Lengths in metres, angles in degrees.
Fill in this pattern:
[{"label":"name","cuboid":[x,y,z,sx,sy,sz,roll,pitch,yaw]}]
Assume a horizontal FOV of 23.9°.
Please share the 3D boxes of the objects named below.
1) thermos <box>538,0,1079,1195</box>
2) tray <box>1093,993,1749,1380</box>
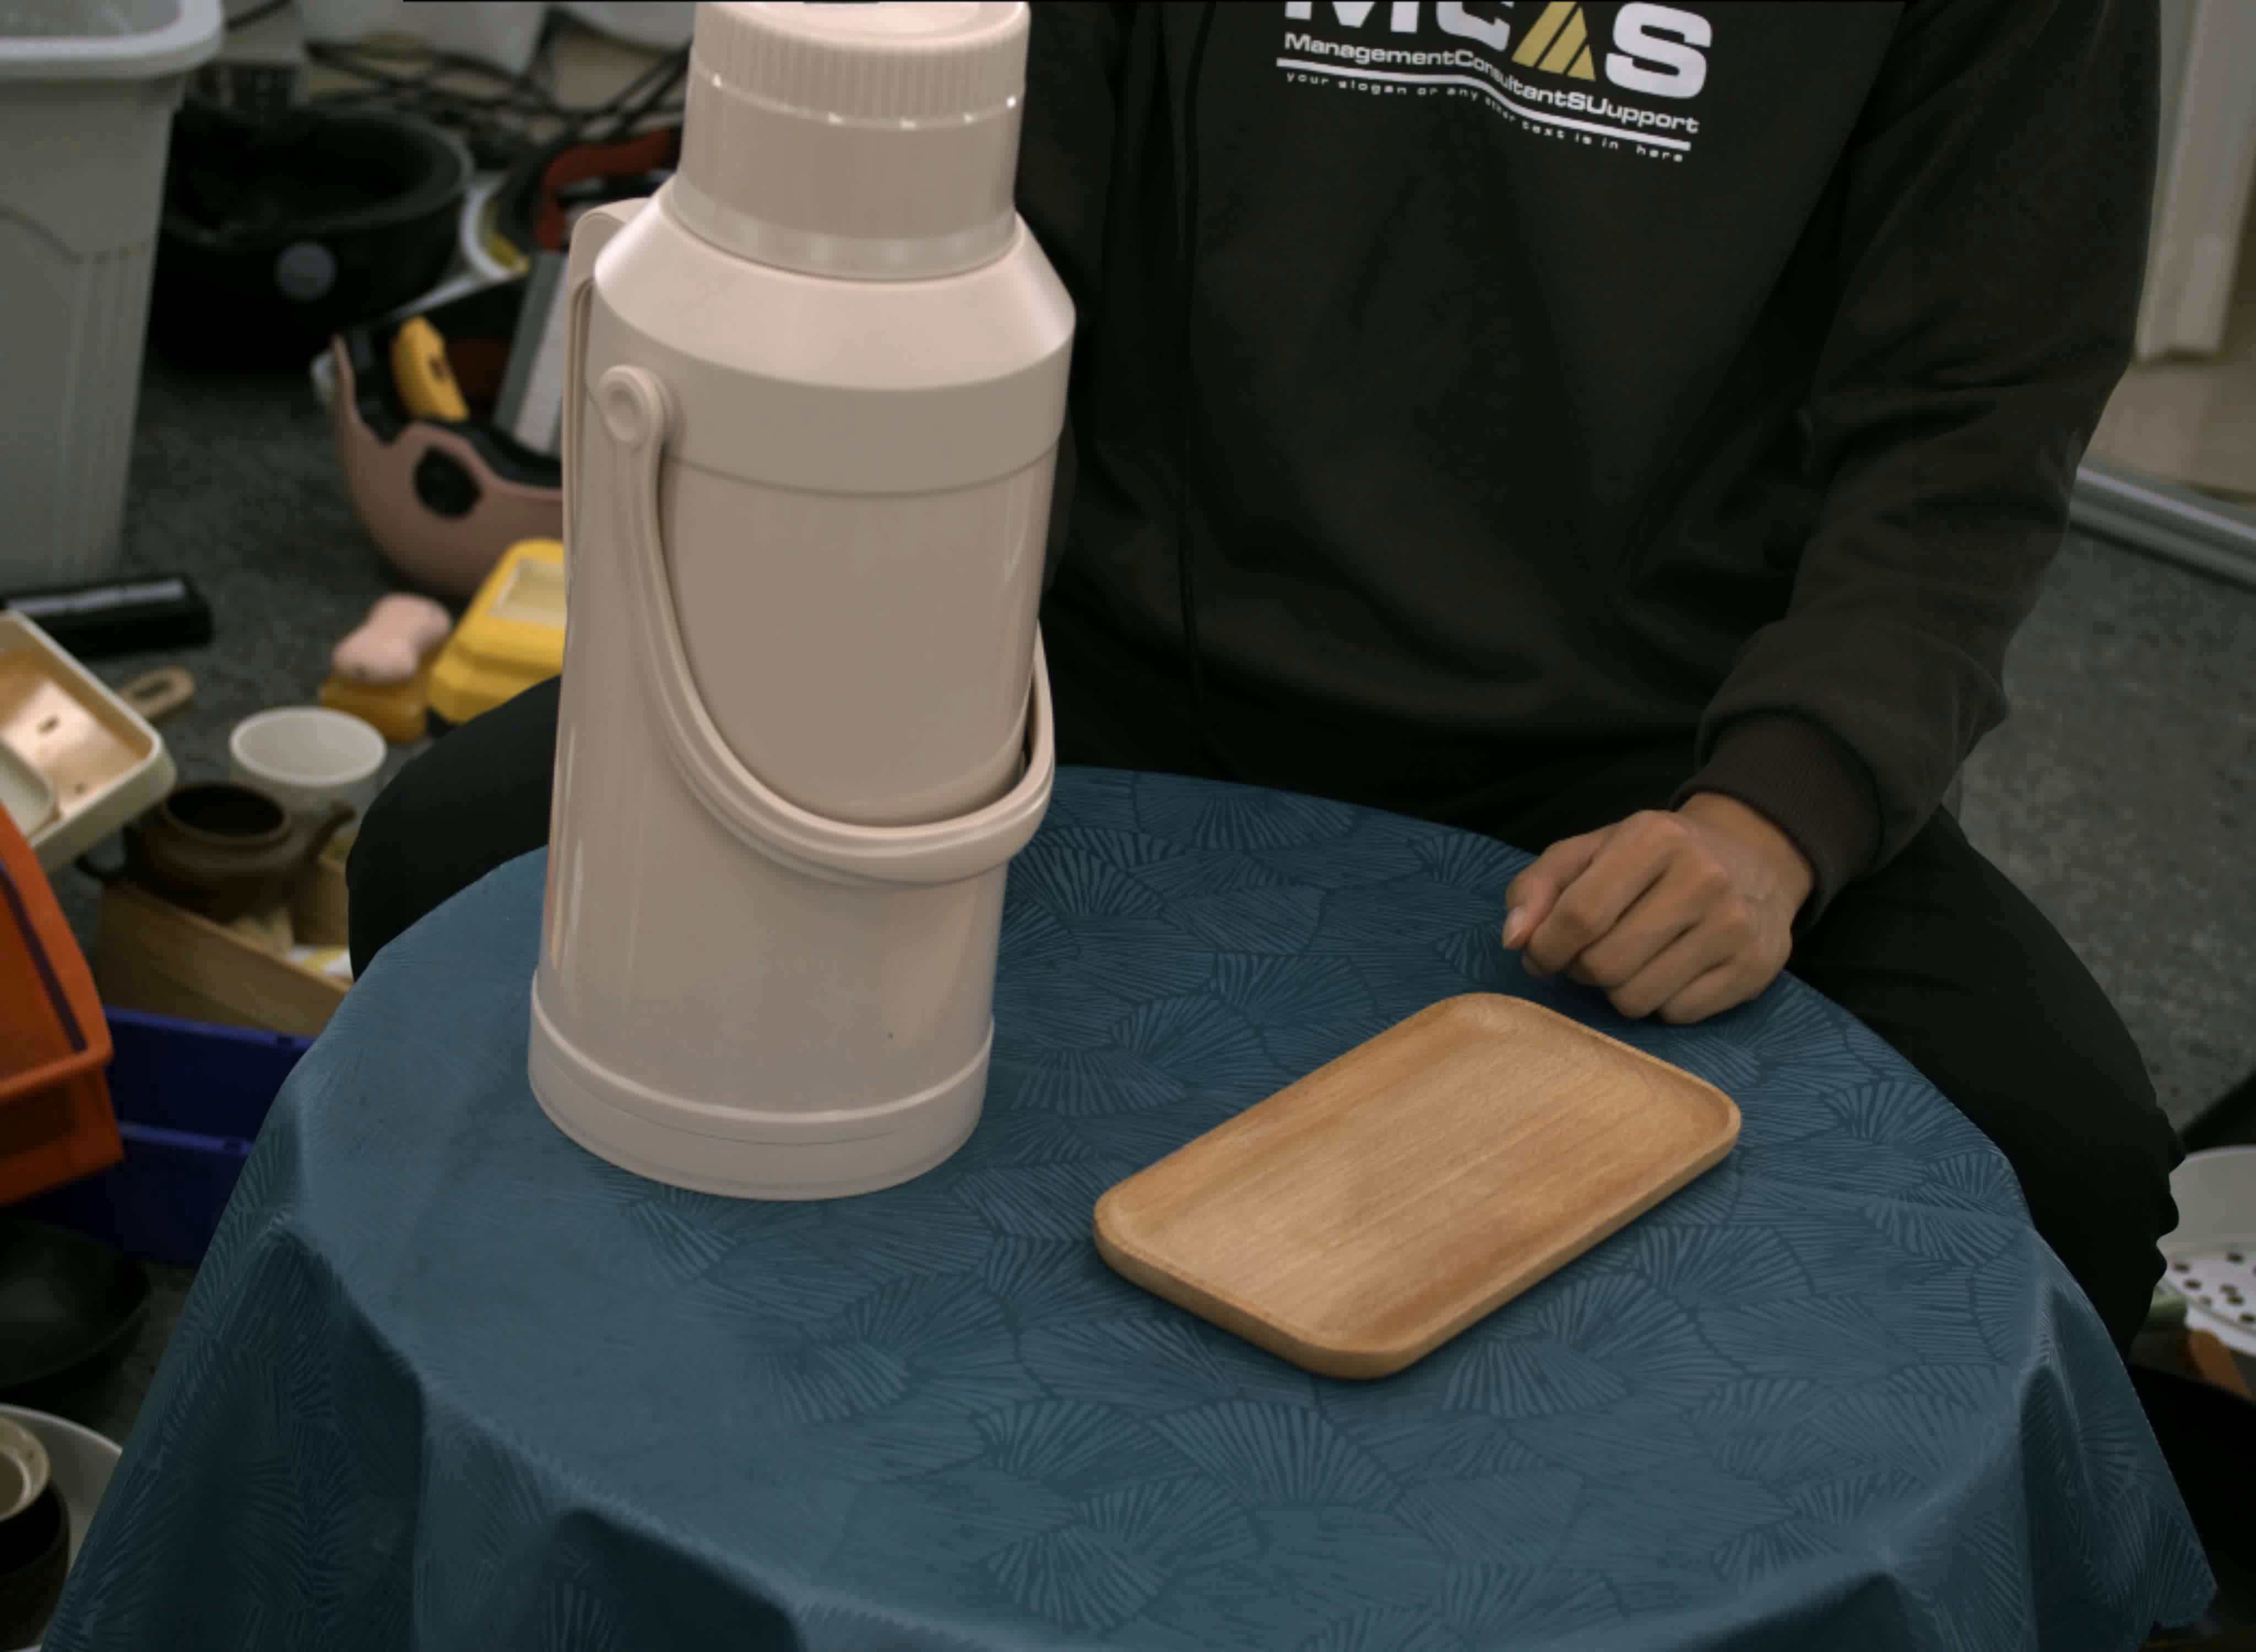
[{"label":"thermos","cuboid":[-0.113,-0.093,1.768,0.208,0.405,0.174,29,35,36]},{"label":"tray","cuboid":[0.103,0.121,1.819,0.131,0.023,0.249,27,32,30]}]
